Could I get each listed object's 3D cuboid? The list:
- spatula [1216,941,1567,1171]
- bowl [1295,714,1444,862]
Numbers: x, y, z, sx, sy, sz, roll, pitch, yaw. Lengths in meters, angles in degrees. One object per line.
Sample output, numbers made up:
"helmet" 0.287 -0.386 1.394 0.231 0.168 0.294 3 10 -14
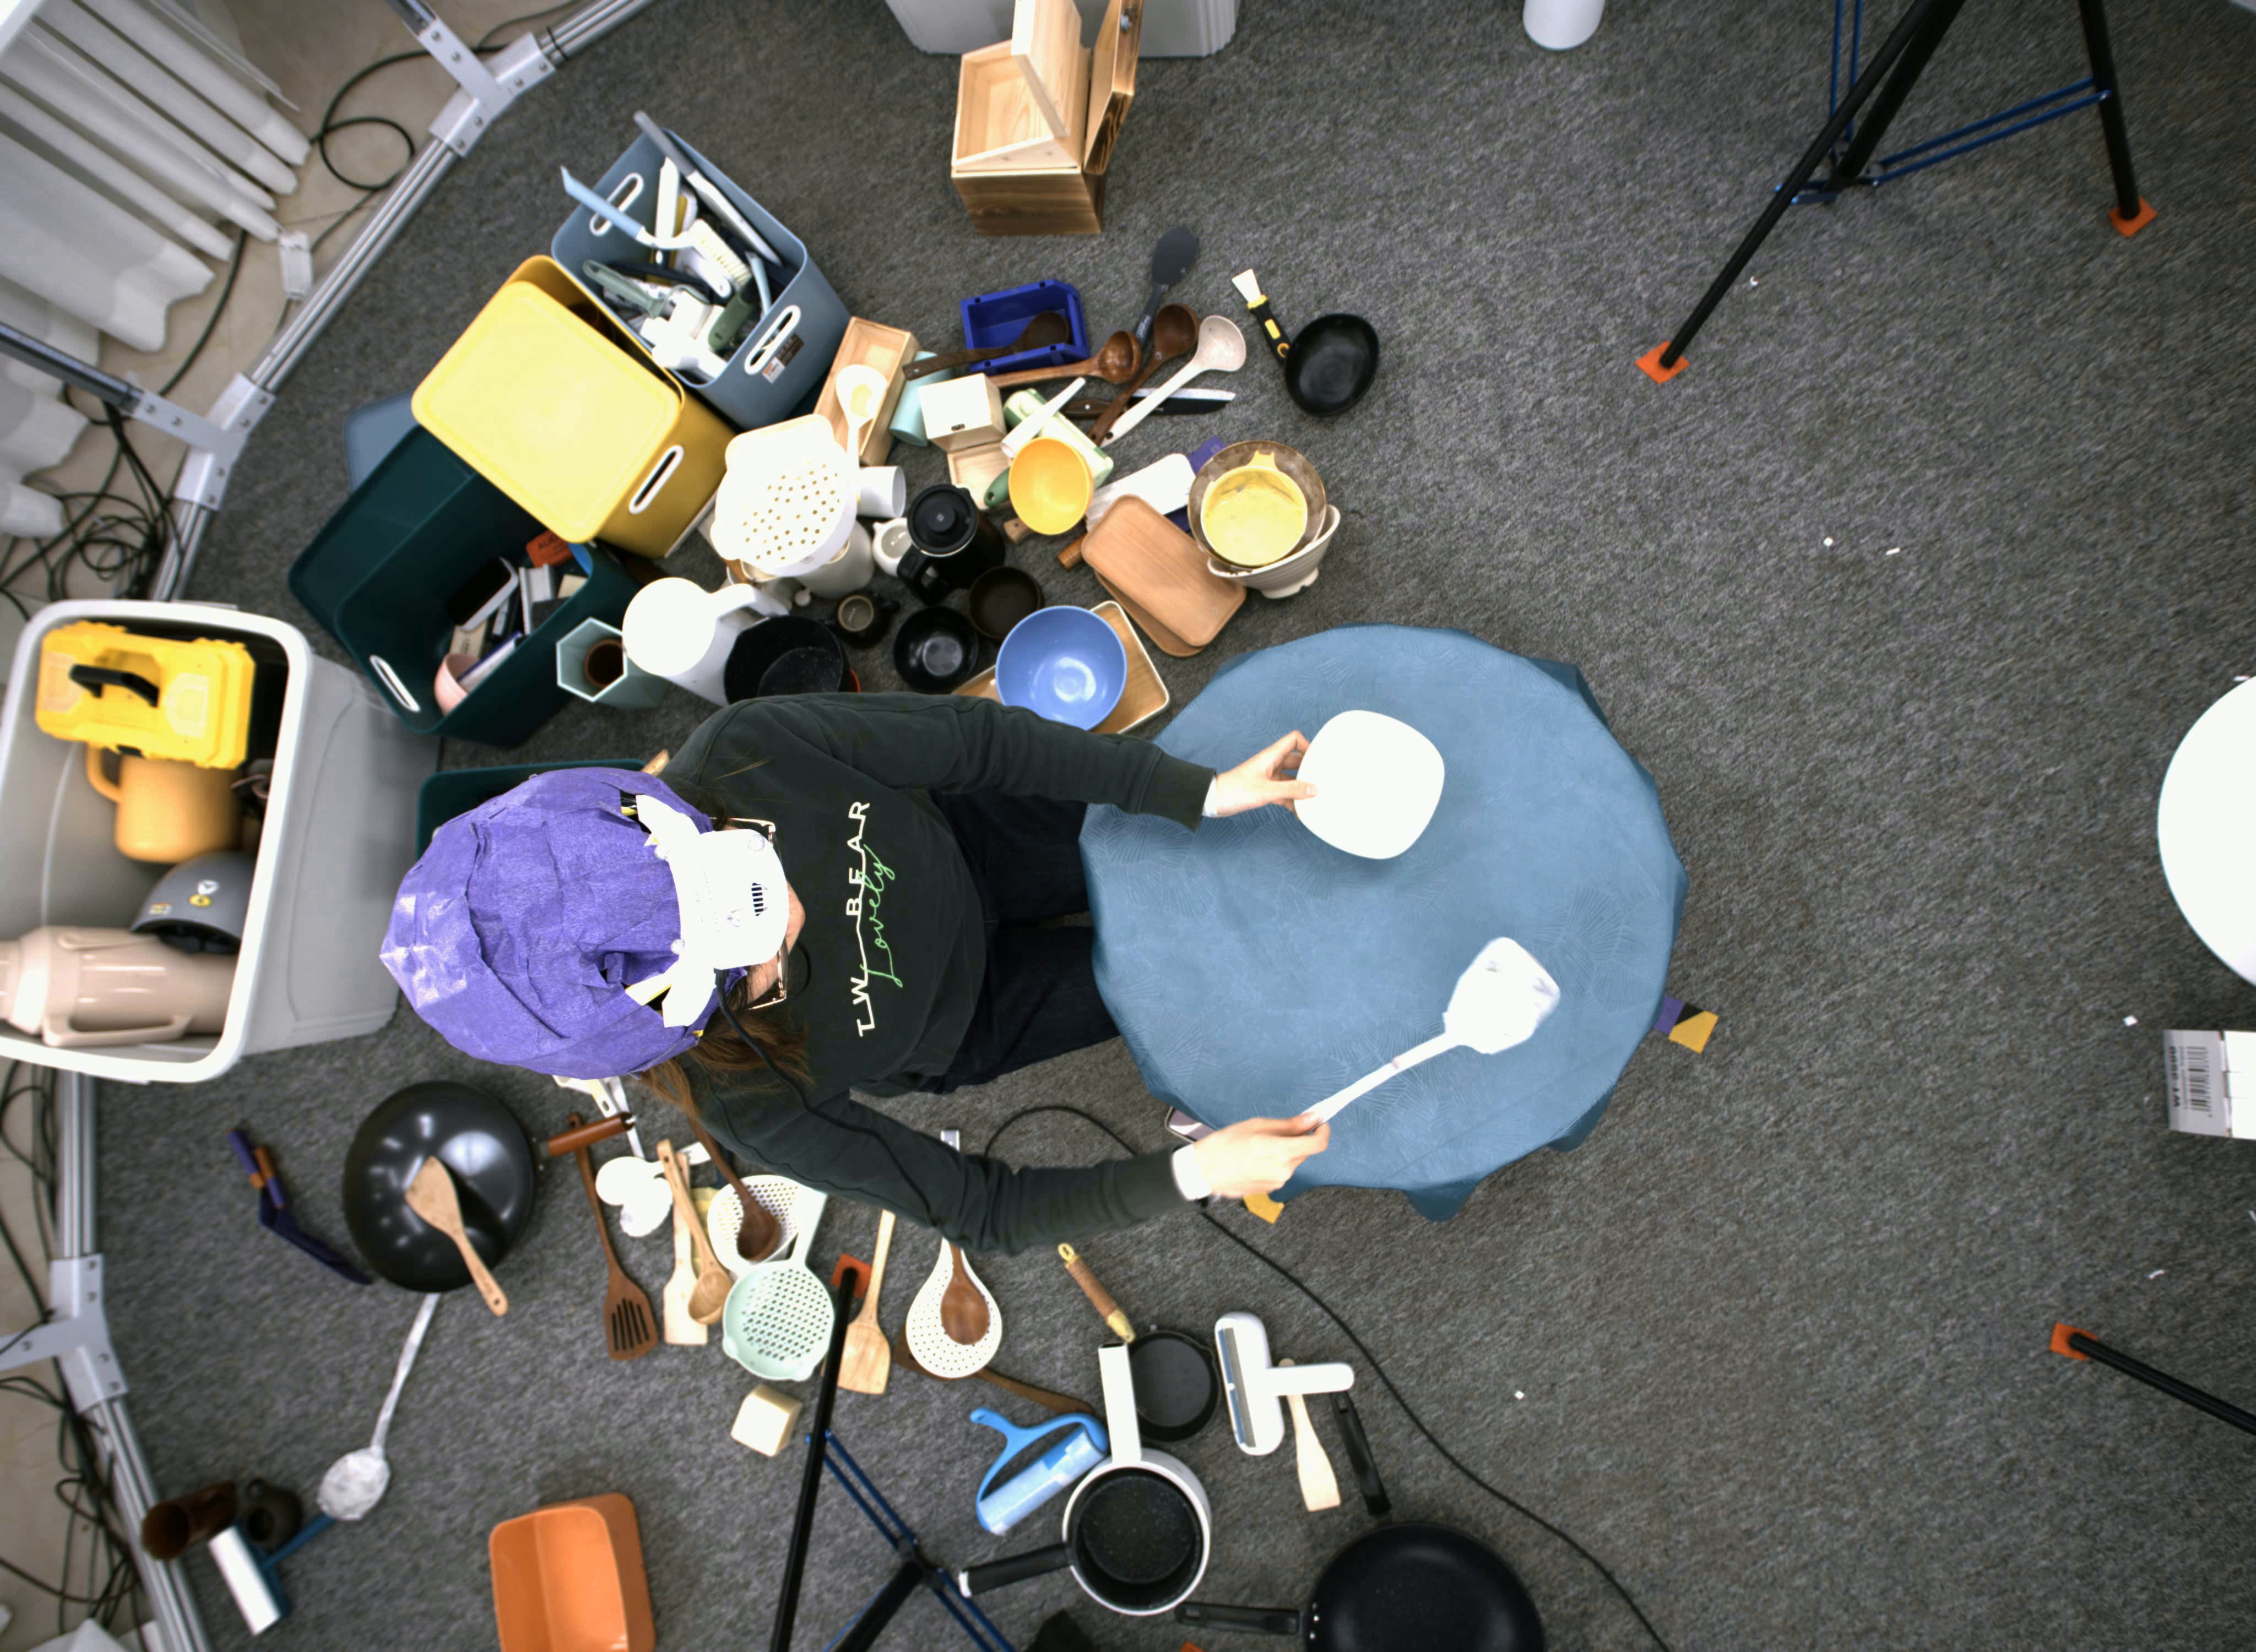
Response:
"spatula" 0.241 0.229 1.301 0.365 0.045 0.097 -29 47 1
"bowl" 0.242 -0.041 1.393 0.152 0.058 0.152 1 98 5
